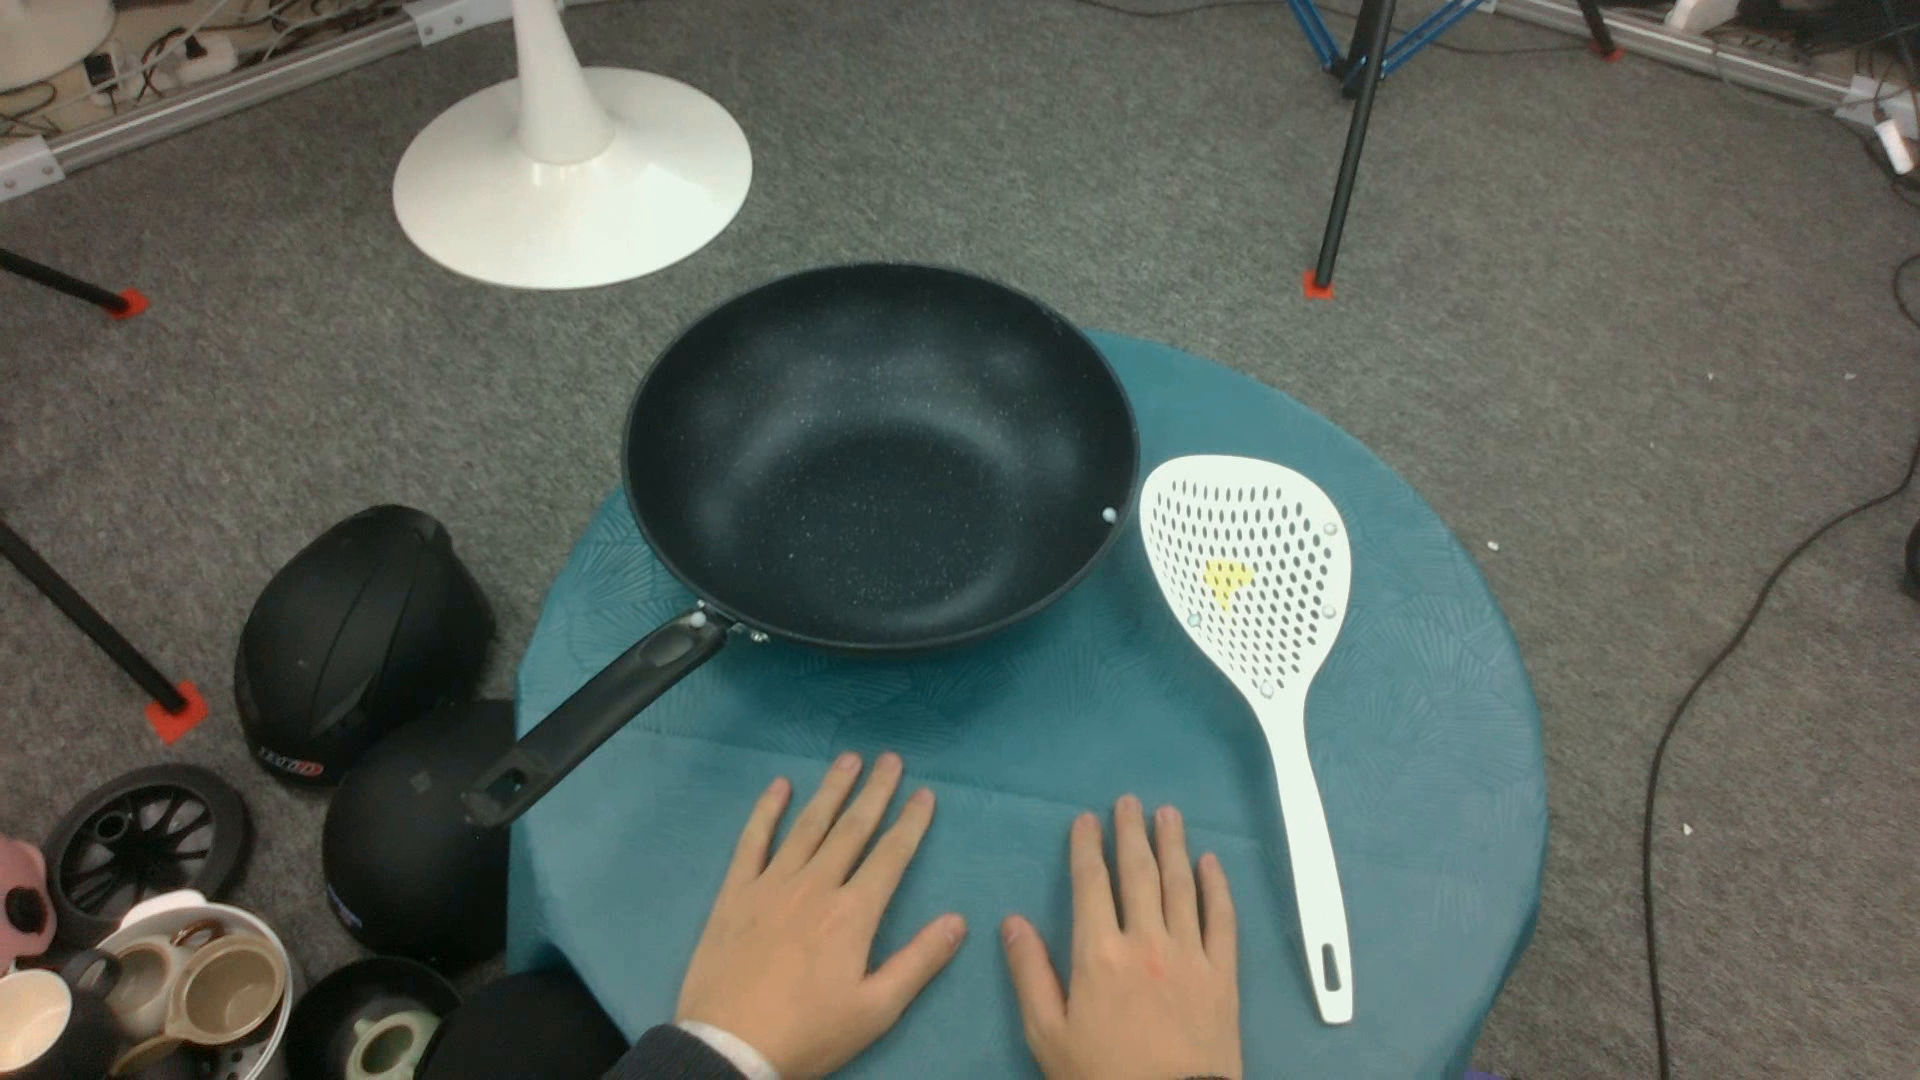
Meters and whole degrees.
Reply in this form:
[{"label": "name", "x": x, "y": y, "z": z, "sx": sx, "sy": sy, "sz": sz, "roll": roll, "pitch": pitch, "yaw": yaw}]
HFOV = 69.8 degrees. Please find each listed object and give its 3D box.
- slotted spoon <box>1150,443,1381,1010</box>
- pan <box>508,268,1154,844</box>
[{"label": "slotted spoon", "x": 0.191, "y": 0.090, "z": 0.797, "sx": 0.137, "sy": 0.050, "sz": 0.349, "roll": 2, "pitch": 52, "yaw": -11}, {"label": "pan", "x": -0.081, "y": 0.011, "z": 0.821, "sx": 0.310, "sy": 0.111, "sz": 0.479, "roll": 25, "pitch": 57, "yaw": 20}]
